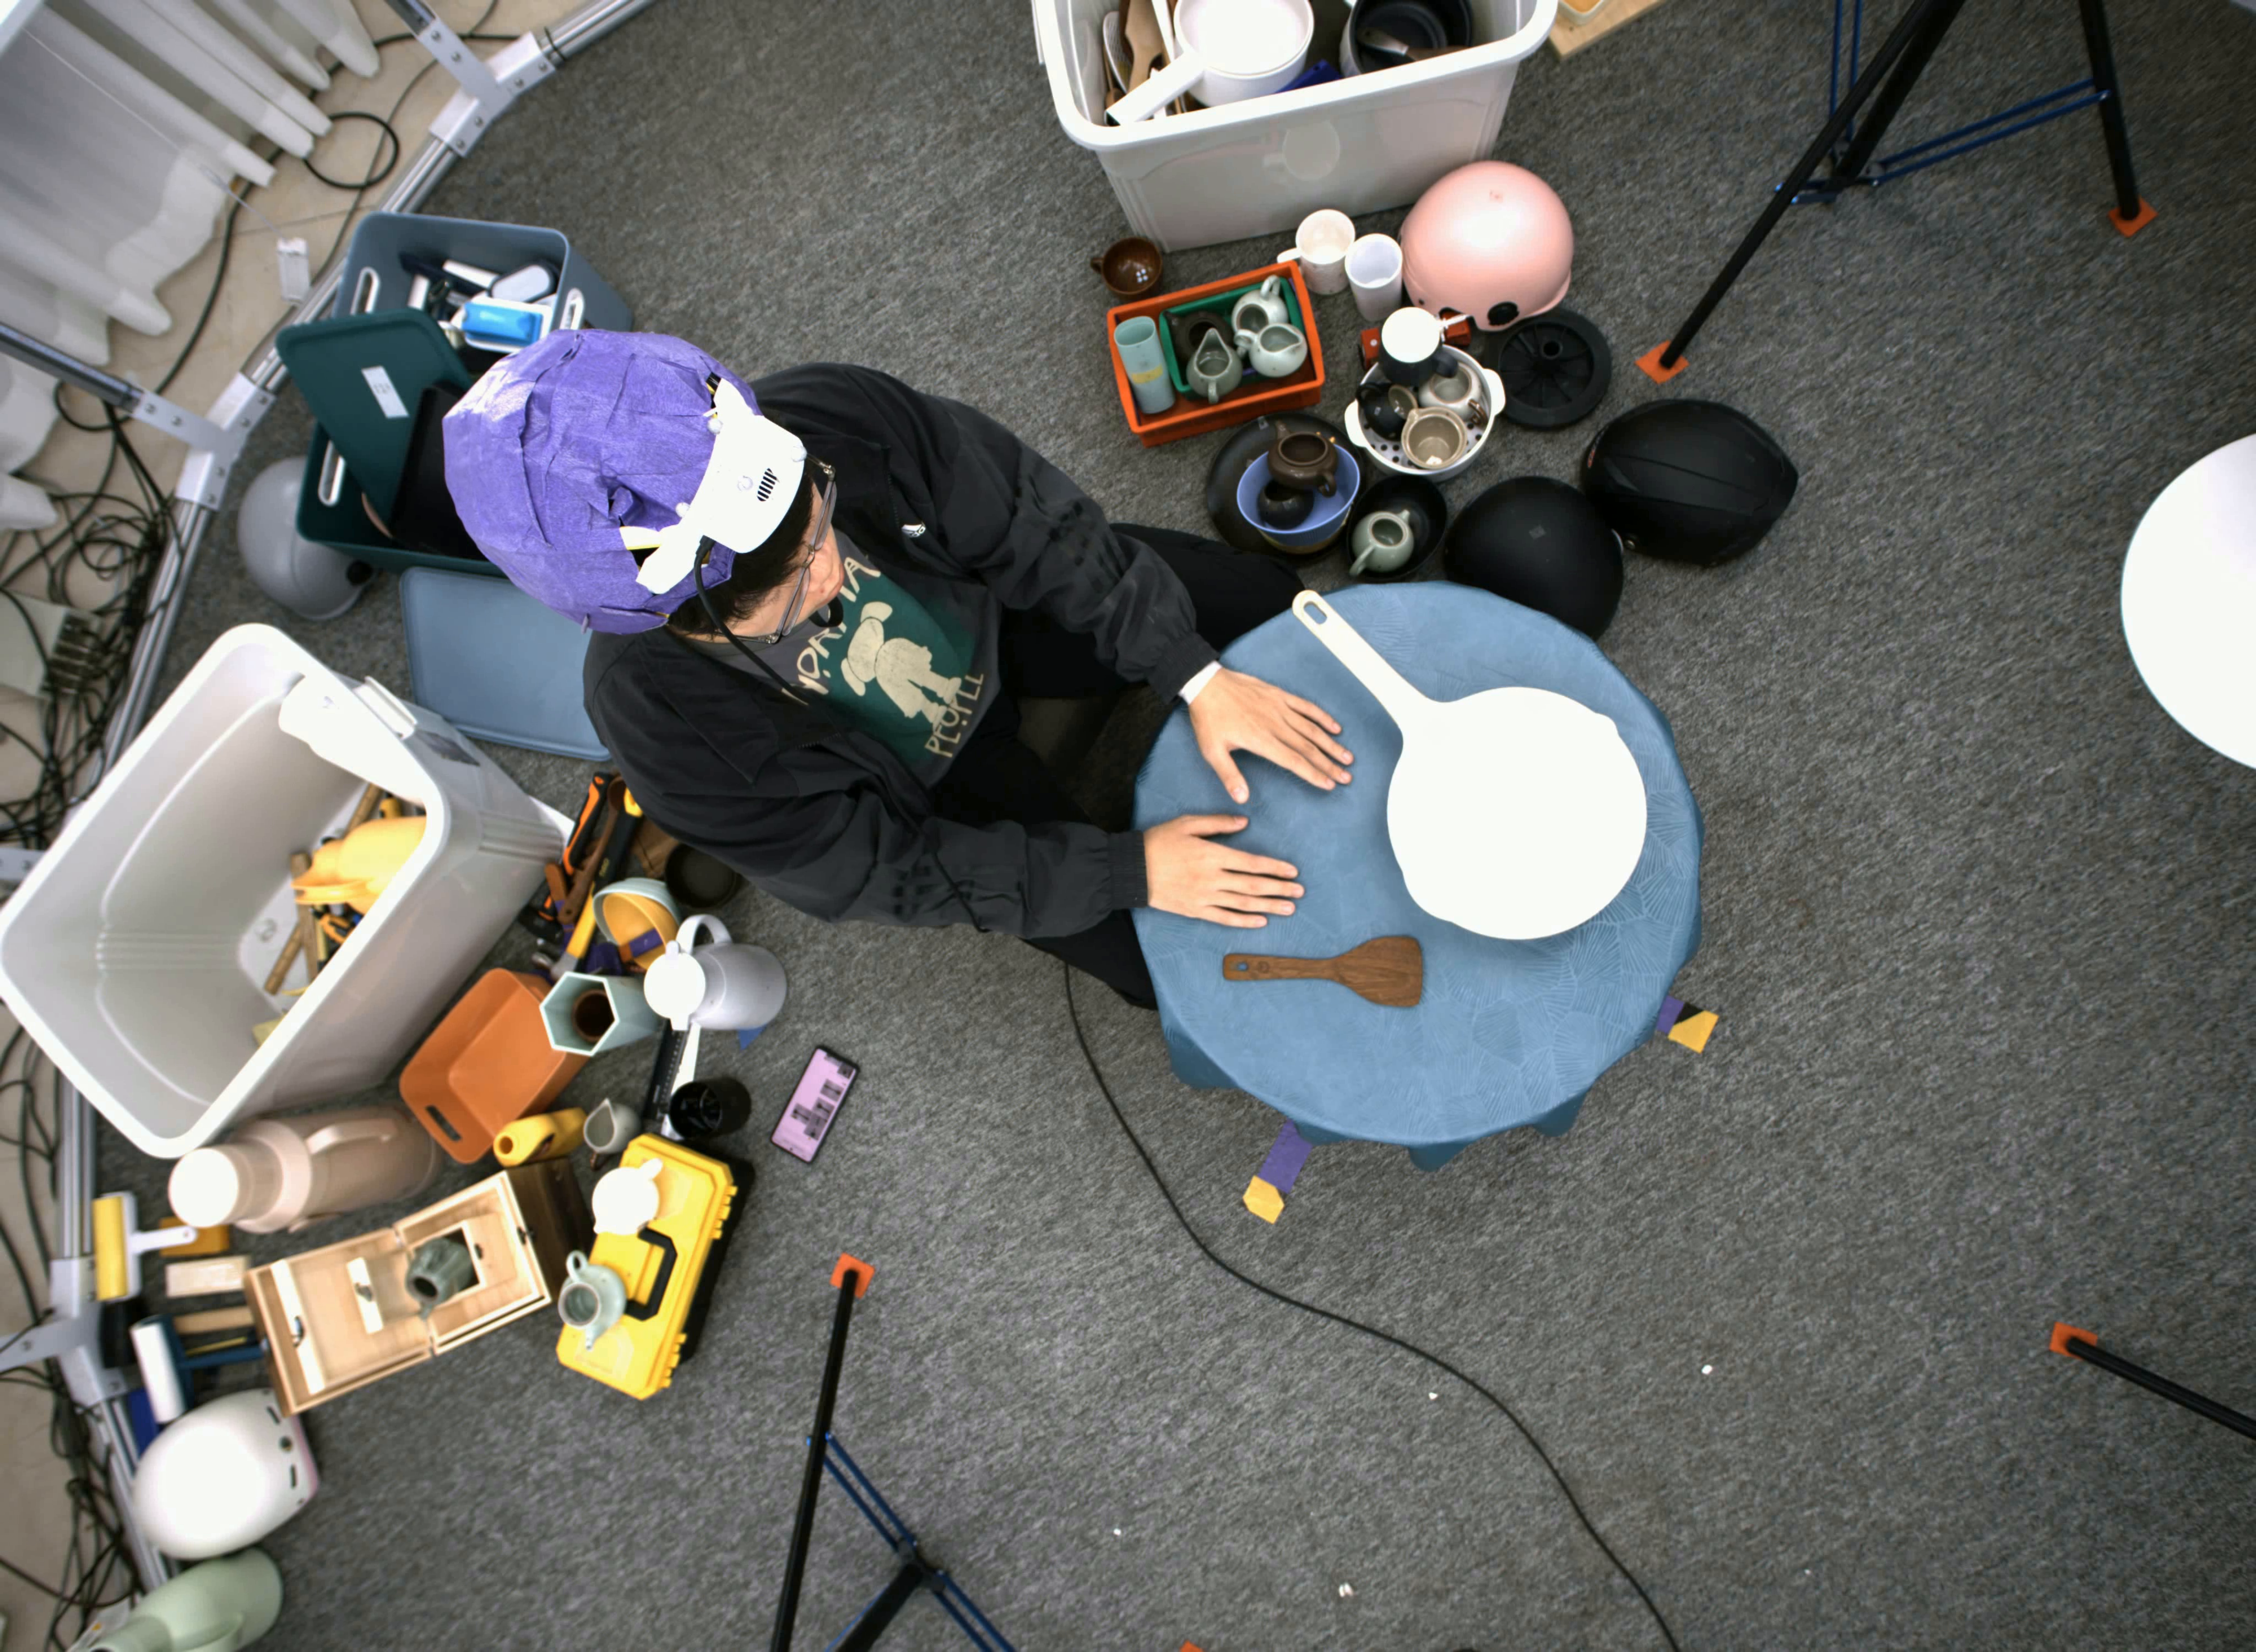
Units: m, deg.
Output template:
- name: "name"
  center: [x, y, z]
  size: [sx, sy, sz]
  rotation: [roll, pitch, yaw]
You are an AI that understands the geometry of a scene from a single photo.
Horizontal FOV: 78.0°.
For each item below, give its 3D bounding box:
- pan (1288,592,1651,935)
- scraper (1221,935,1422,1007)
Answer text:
- name: "pan"
  center: [0.330, -0.081, 1.405]
  size: [0.265, 0.102, 0.433]
  rotation: [-46, 80, 7]
- name: "scraper"
  center: [0.204, 0.150, 1.463]
  size: [0.212, 0.011, 0.075]
  rotation: [0, 86, 11]
